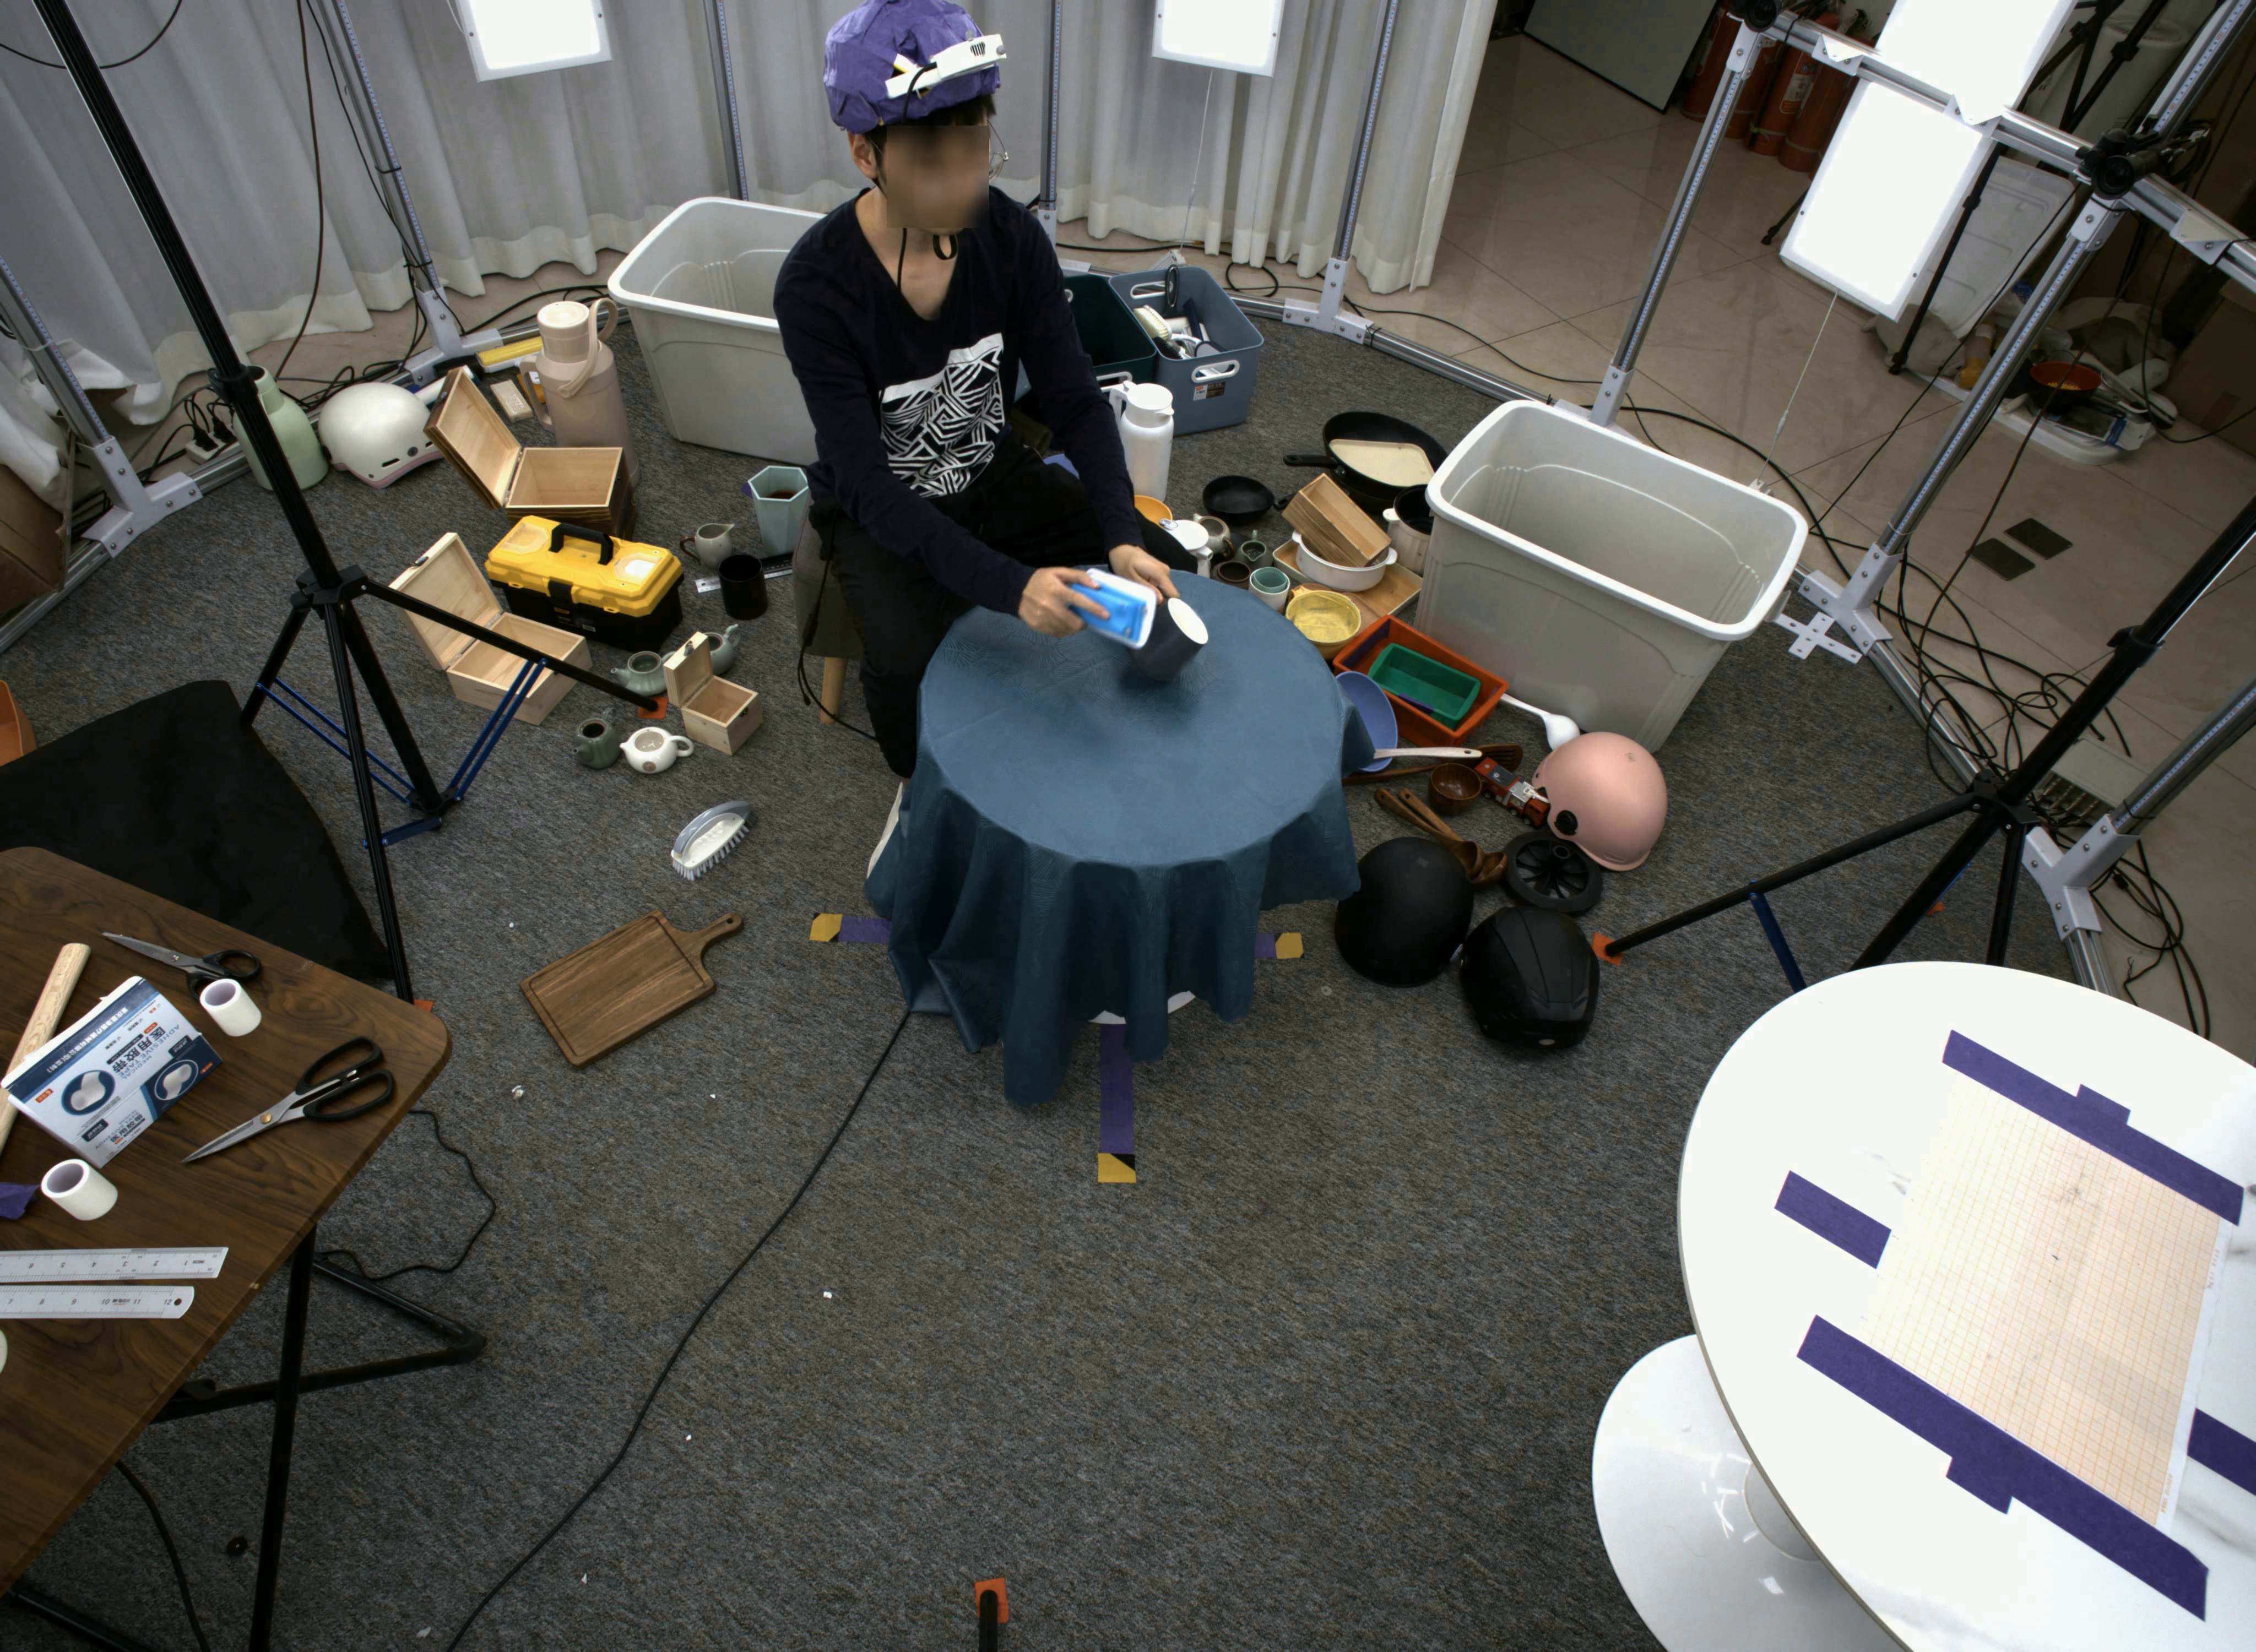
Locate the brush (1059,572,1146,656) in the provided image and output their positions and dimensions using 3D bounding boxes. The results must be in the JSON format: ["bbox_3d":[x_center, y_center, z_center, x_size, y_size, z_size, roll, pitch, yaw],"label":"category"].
[{"bbox_3d":[-0.043,-0.290,1.740,0.055,0.083,0.146,0,24,-48],"label":"brush"}]

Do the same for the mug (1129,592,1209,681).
[{"bbox_3d":[0.051,-0.277,1.827,0.093,0.089,0.125,6,53,-51],"label":"mug"}]
